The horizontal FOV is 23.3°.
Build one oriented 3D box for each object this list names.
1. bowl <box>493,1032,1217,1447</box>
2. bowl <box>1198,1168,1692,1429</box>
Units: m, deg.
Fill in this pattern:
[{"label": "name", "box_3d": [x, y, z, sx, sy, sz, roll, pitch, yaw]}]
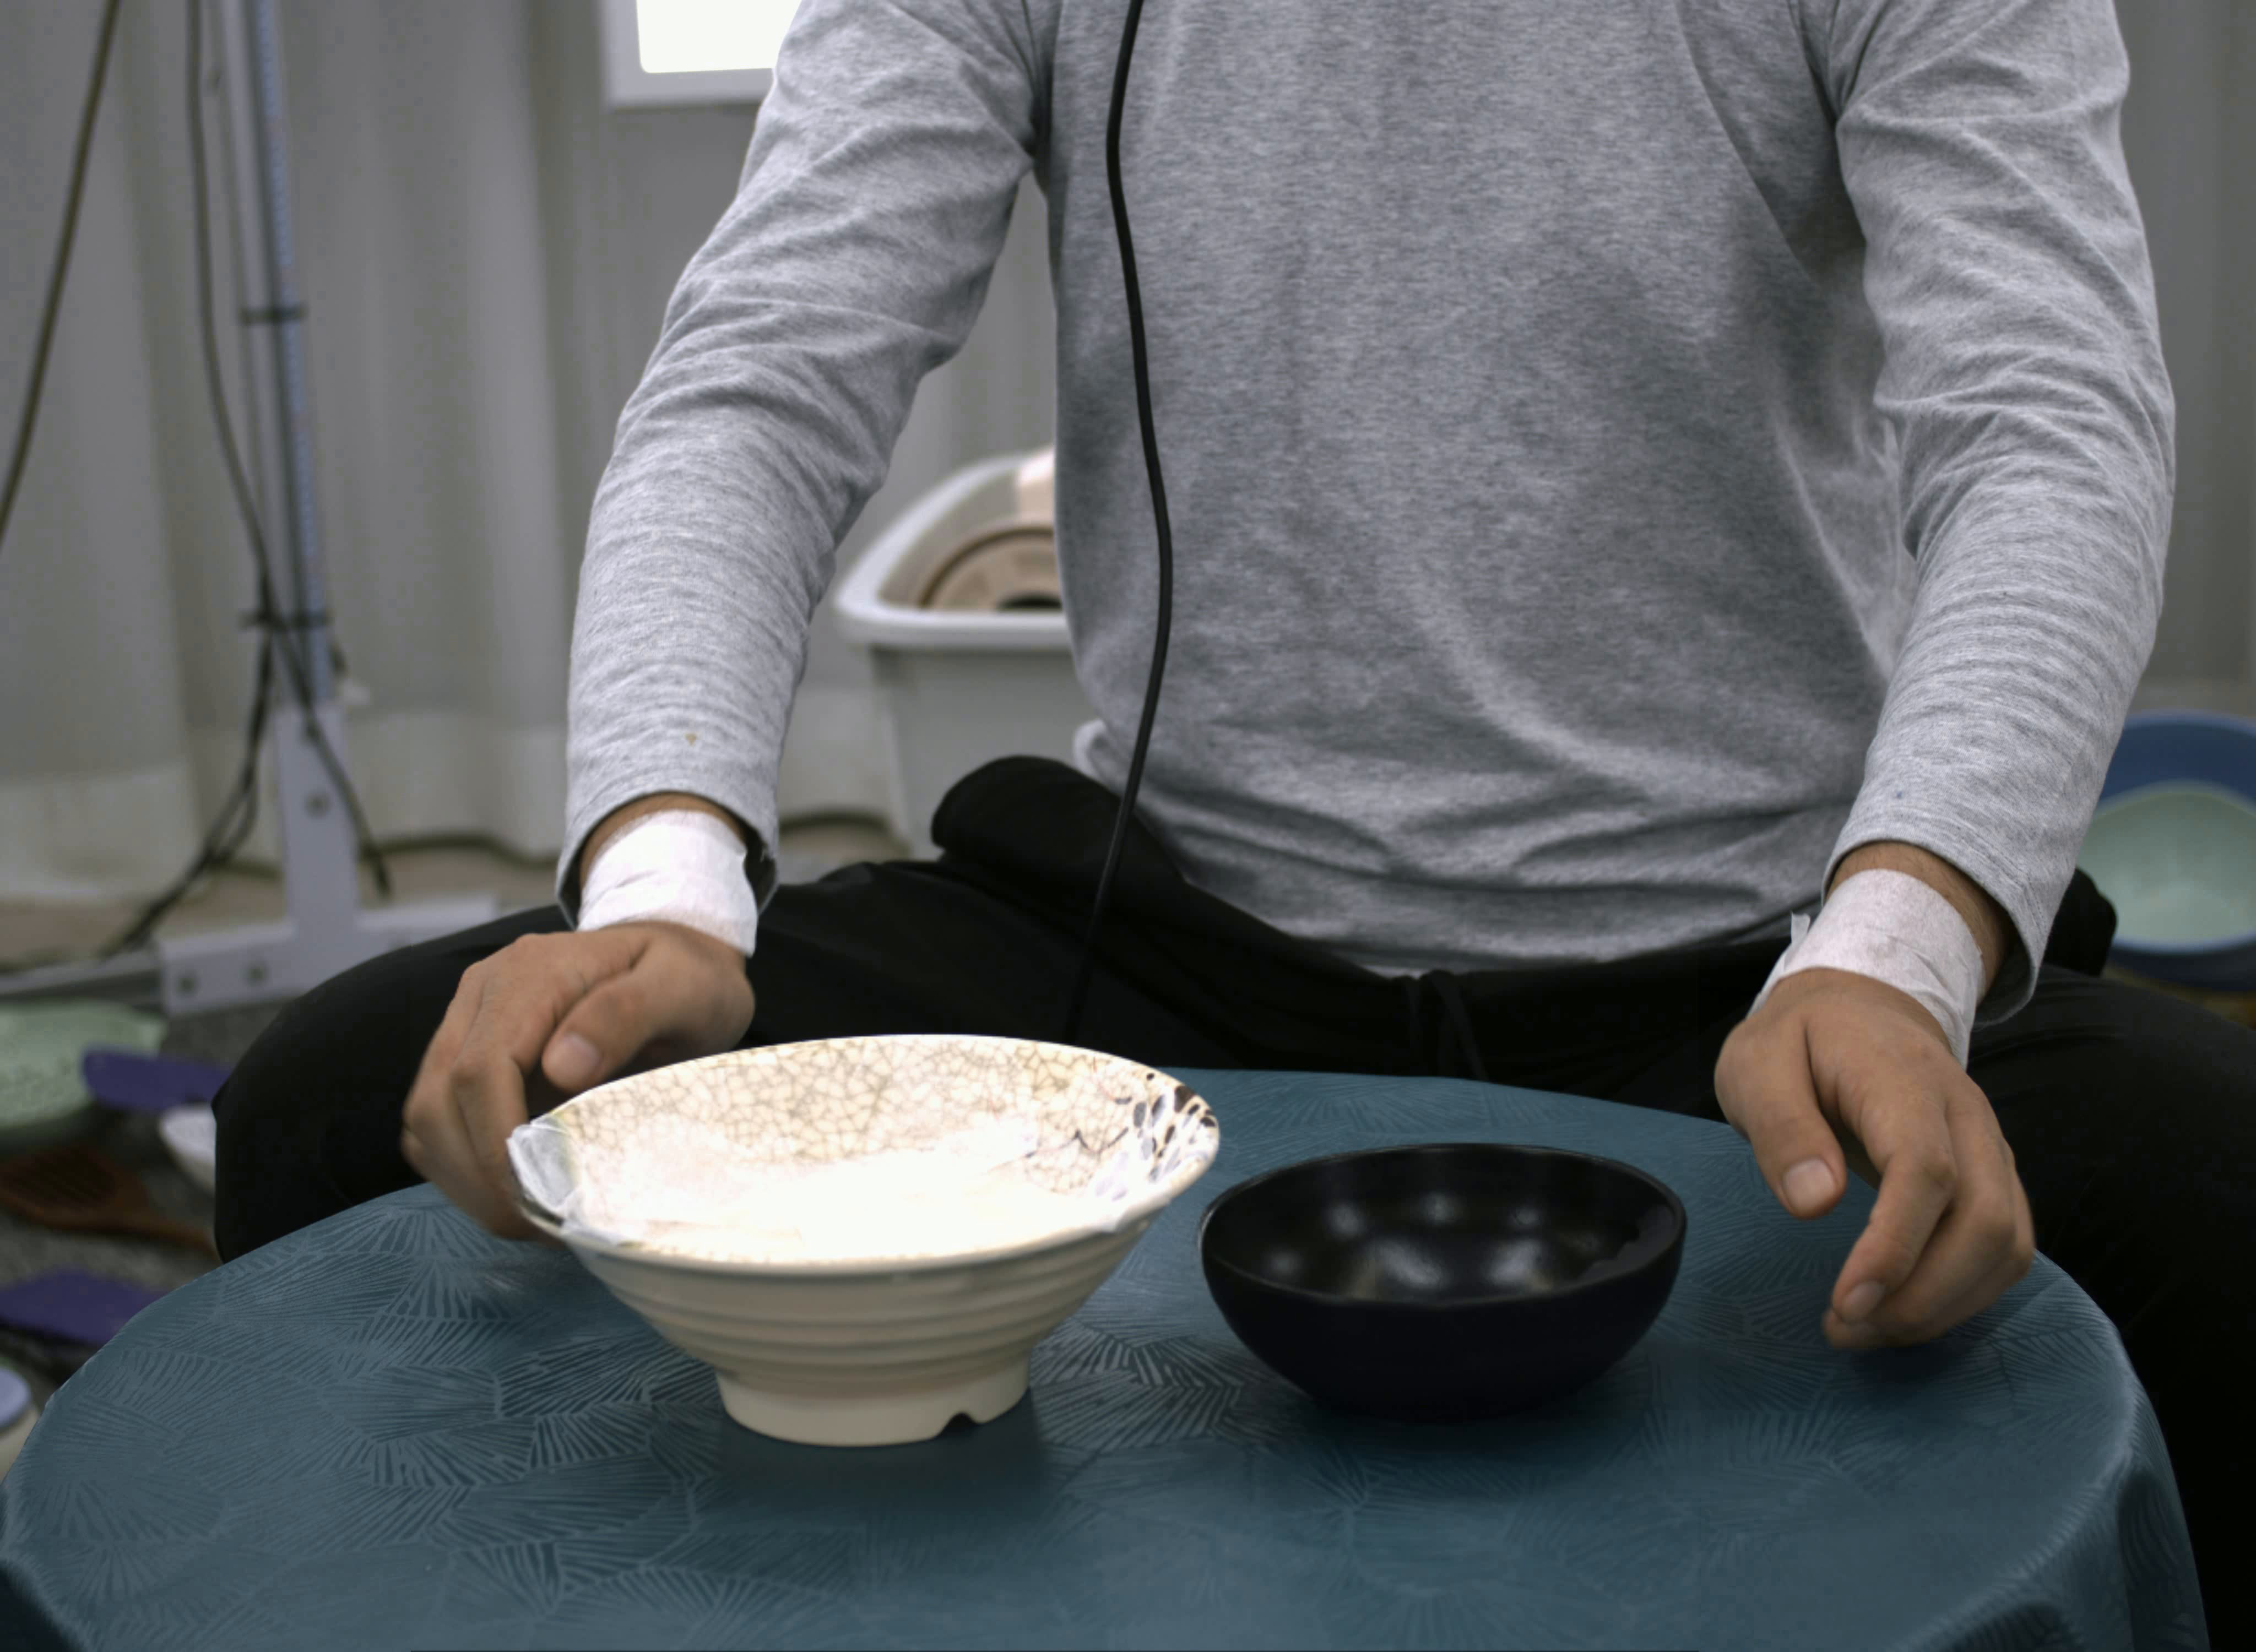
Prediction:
[{"label": "bowl", "box_3d": [-0.075, 0.124, 1.545, 0.203, 0.077, 0.205, -2, 14, 0]}, {"label": "bowl", "box_3d": [0.089, 0.136, 1.537, 0.139, 0.050, 0.140, 0, 10, 0]}]
